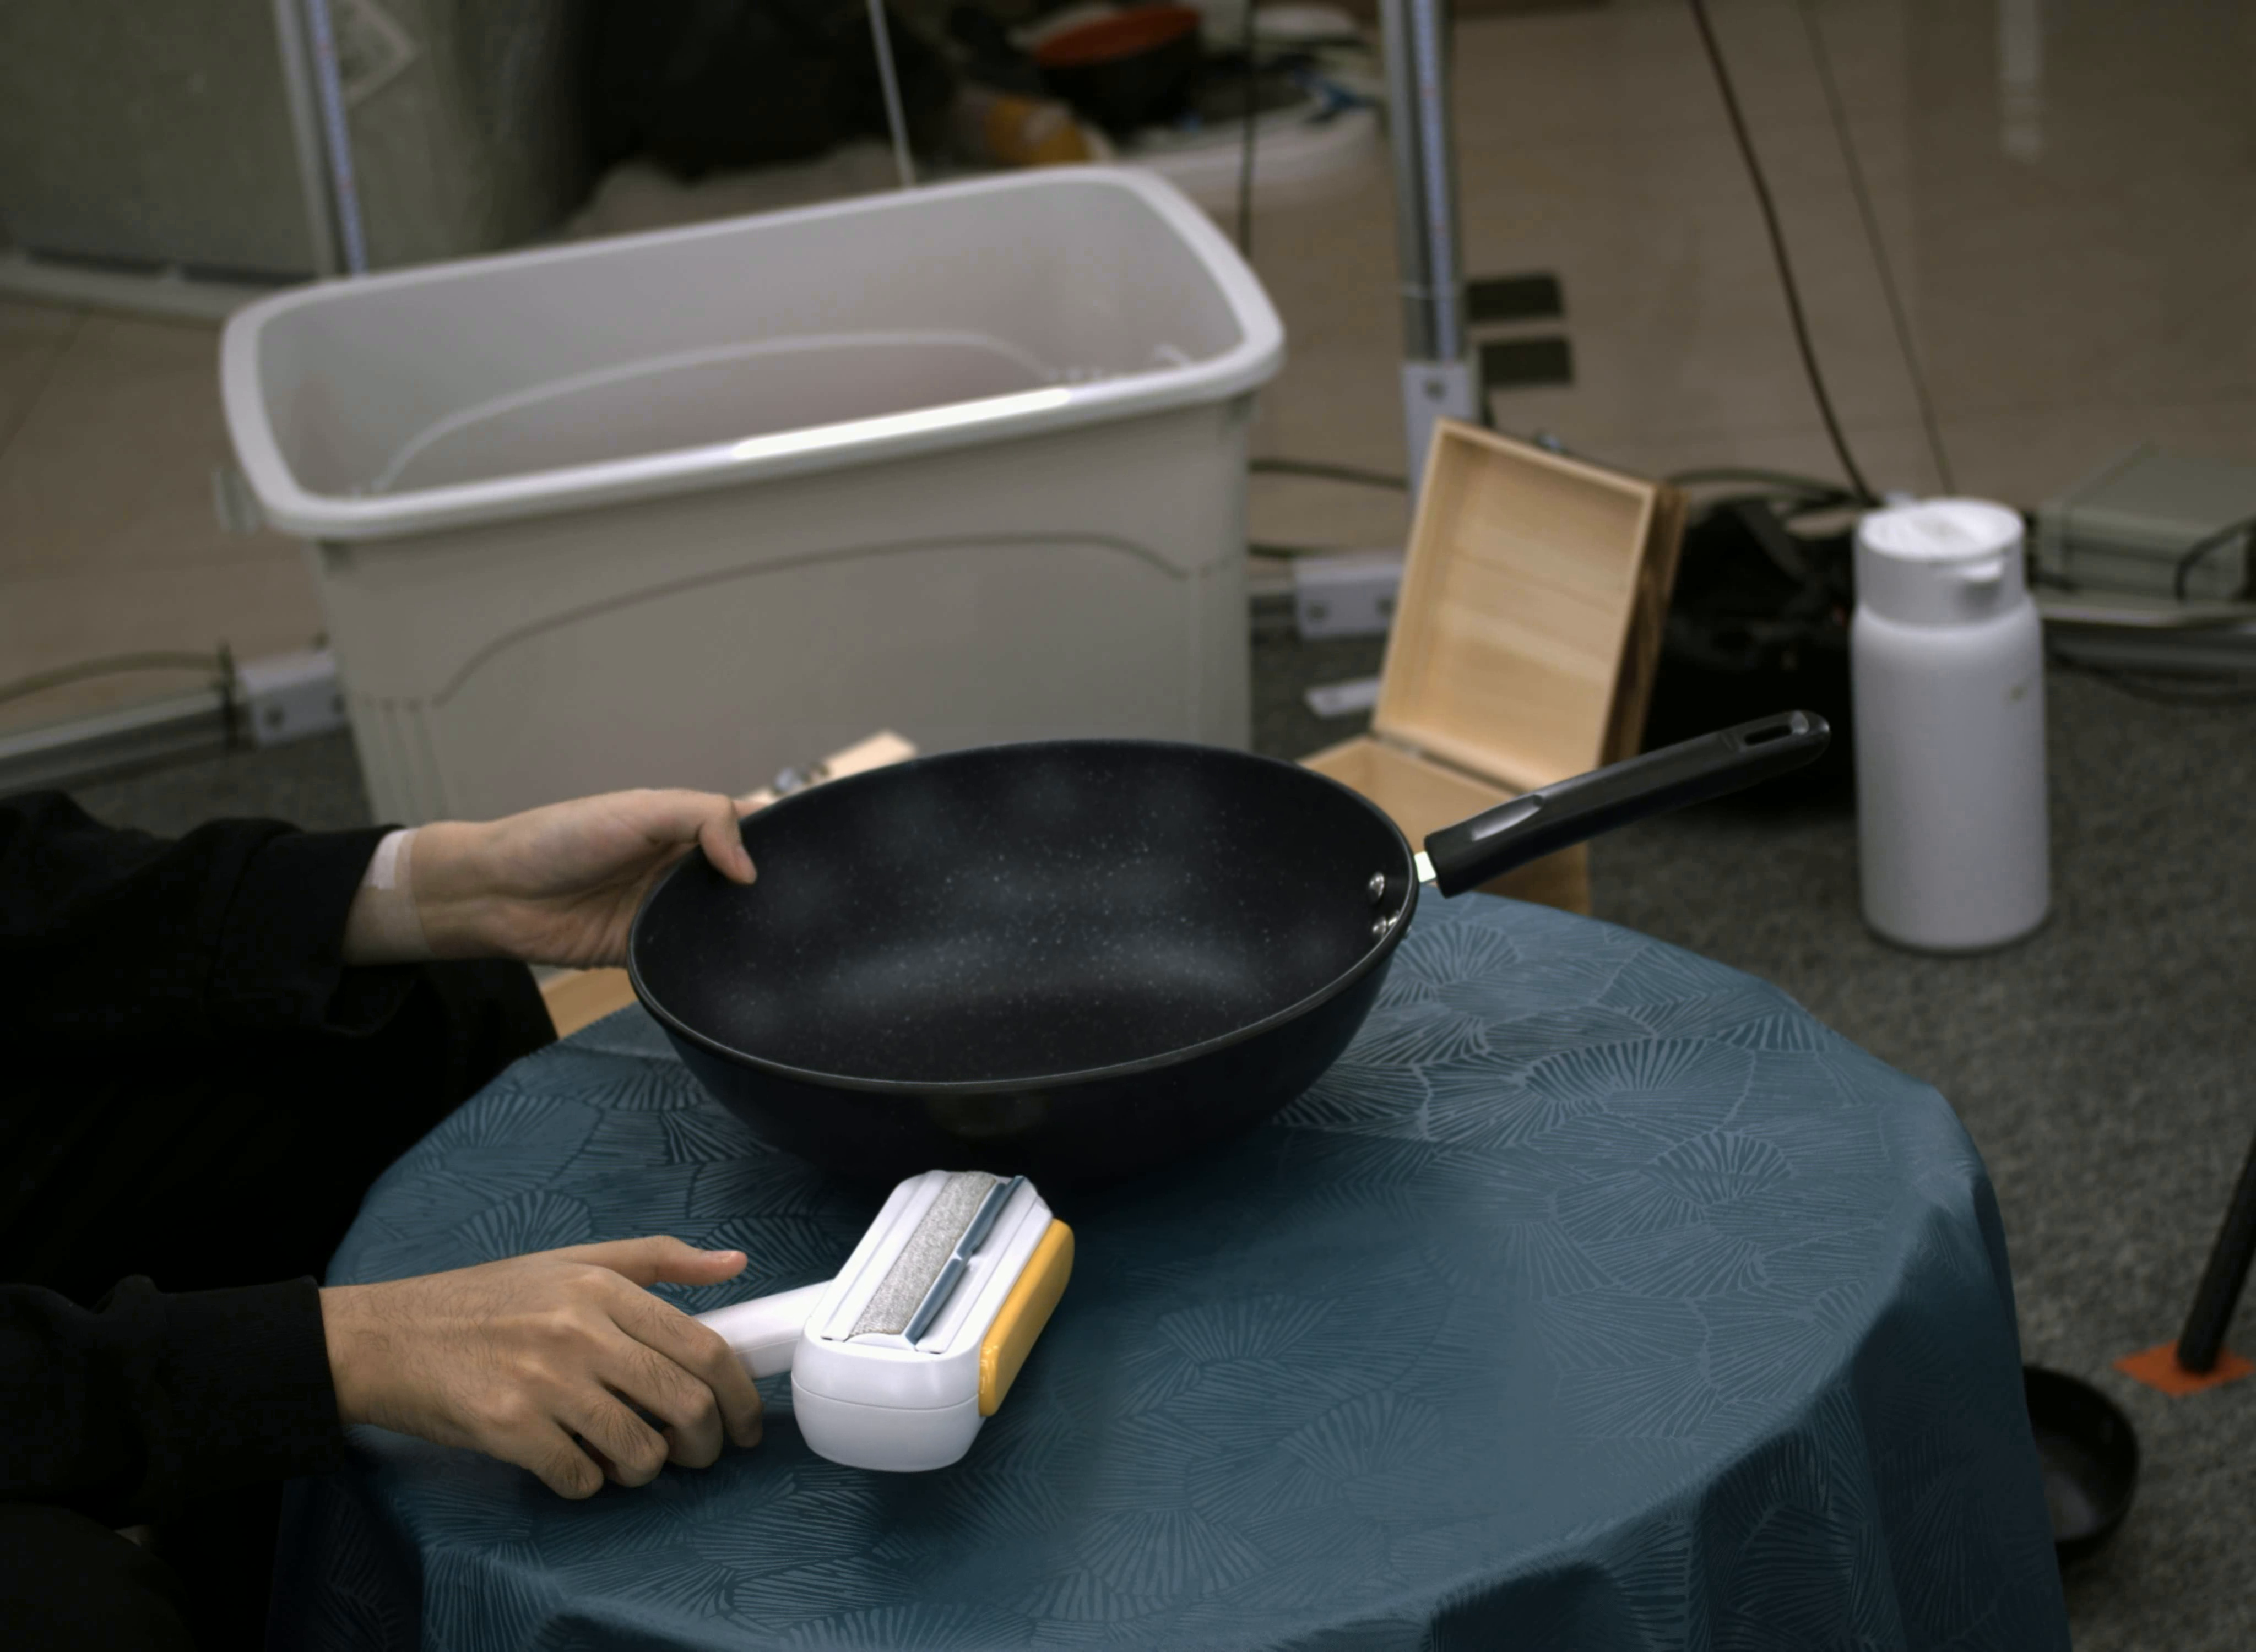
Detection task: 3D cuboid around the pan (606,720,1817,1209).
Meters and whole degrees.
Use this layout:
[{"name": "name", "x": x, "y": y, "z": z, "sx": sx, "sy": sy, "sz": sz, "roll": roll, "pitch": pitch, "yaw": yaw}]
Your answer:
[{"name": "pan", "x": 0.037, "y": 0.046, "z": 2.205, "sx": 0.476, "sy": 0.113, "sz": 0.305, "roll": -9, "pitch": 27, "yaw": -5}]

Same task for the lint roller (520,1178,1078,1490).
[{"name": "lint roller", "x": -0.126, "y": 0.182, "z": 2.002, "sx": 0.192, "sy": 0.075, "sz": 0.190, "roll": -1, "pitch": 20, "yaw": 15}]
